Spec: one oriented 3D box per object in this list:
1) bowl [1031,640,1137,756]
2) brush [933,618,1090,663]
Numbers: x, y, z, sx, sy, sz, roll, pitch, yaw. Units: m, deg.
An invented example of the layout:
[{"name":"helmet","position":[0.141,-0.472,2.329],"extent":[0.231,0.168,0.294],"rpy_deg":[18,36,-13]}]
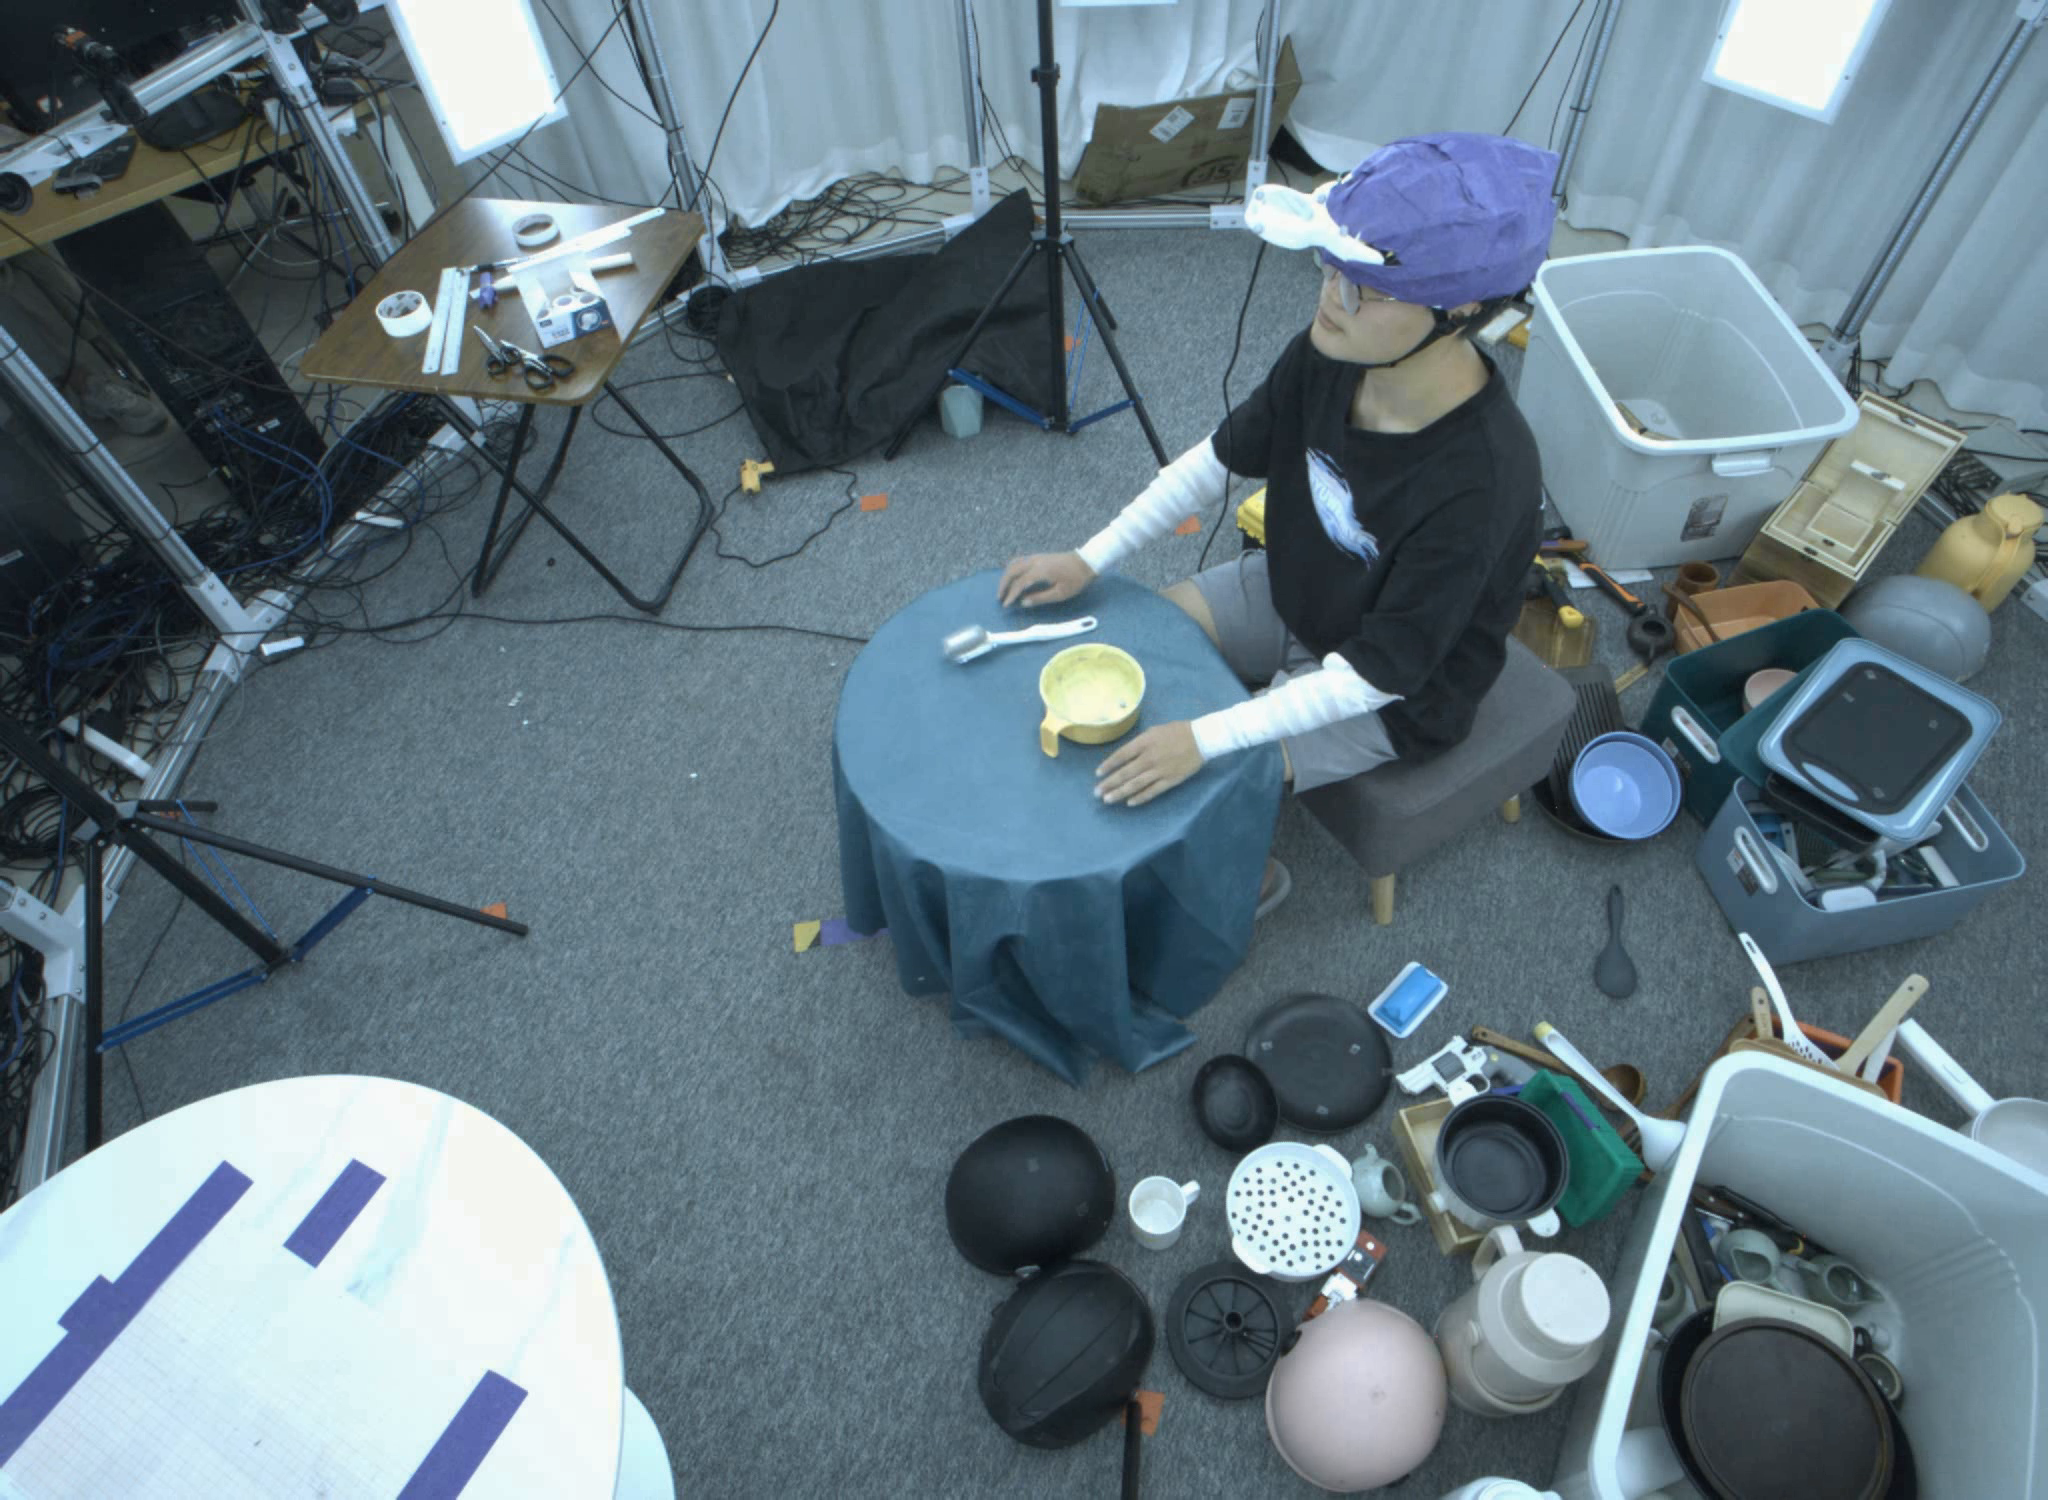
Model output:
[{"name":"bowl","position":[0.078,-0.073,1.785],"extent":[0.151,0.075,0.180],"rpy_deg":[32,63,17]},{"name":"brush","position":[-0.018,-0.182,1.879],"extent":[0.245,0.051,0.034],"rpy_deg":[-13,53,-7]}]
